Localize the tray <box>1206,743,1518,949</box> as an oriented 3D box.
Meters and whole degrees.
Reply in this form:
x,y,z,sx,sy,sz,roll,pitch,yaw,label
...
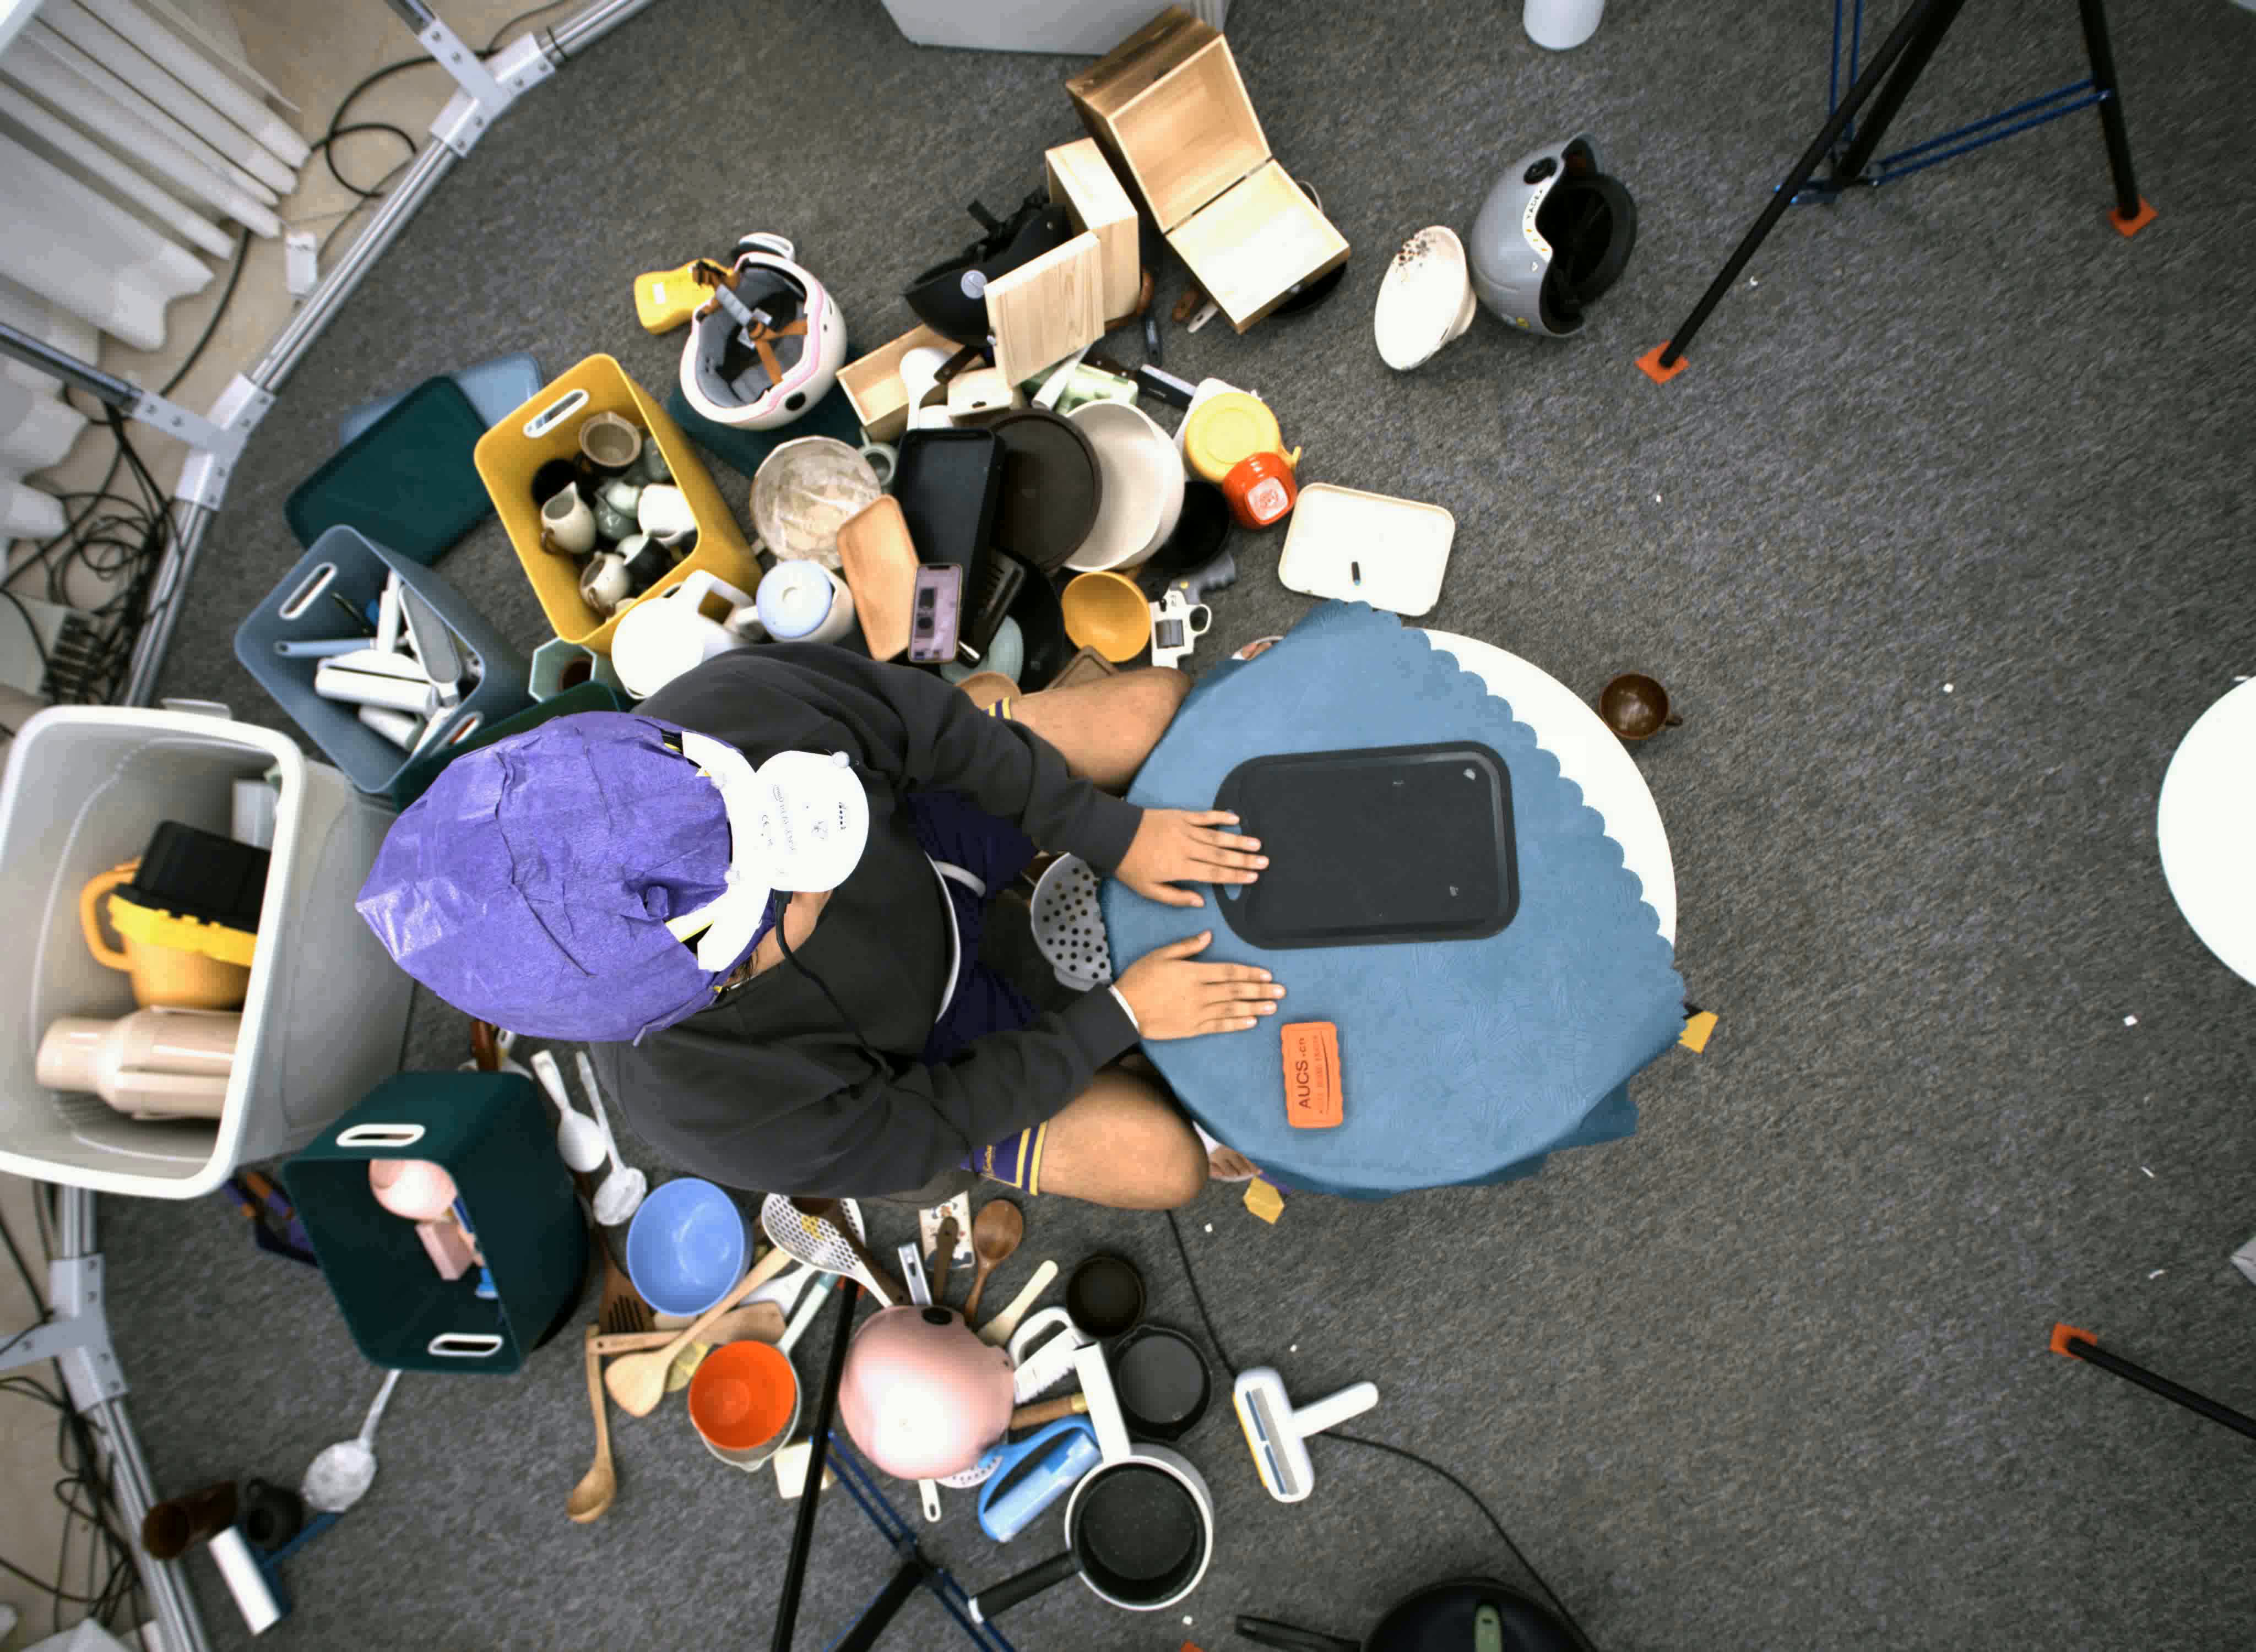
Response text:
x,y,z,sx,sy,sz,roll,pitch,yaw,label
0.245,0.021,1.464,0.327,0.010,0.210,-3,86,10,tray

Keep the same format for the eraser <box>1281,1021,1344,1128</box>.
x,y,z,sx,sy,sz,roll,pitch,yaw,label
0.193,0.258,1.448,0.059,0.023,0.107,-5,84,9,eraser
